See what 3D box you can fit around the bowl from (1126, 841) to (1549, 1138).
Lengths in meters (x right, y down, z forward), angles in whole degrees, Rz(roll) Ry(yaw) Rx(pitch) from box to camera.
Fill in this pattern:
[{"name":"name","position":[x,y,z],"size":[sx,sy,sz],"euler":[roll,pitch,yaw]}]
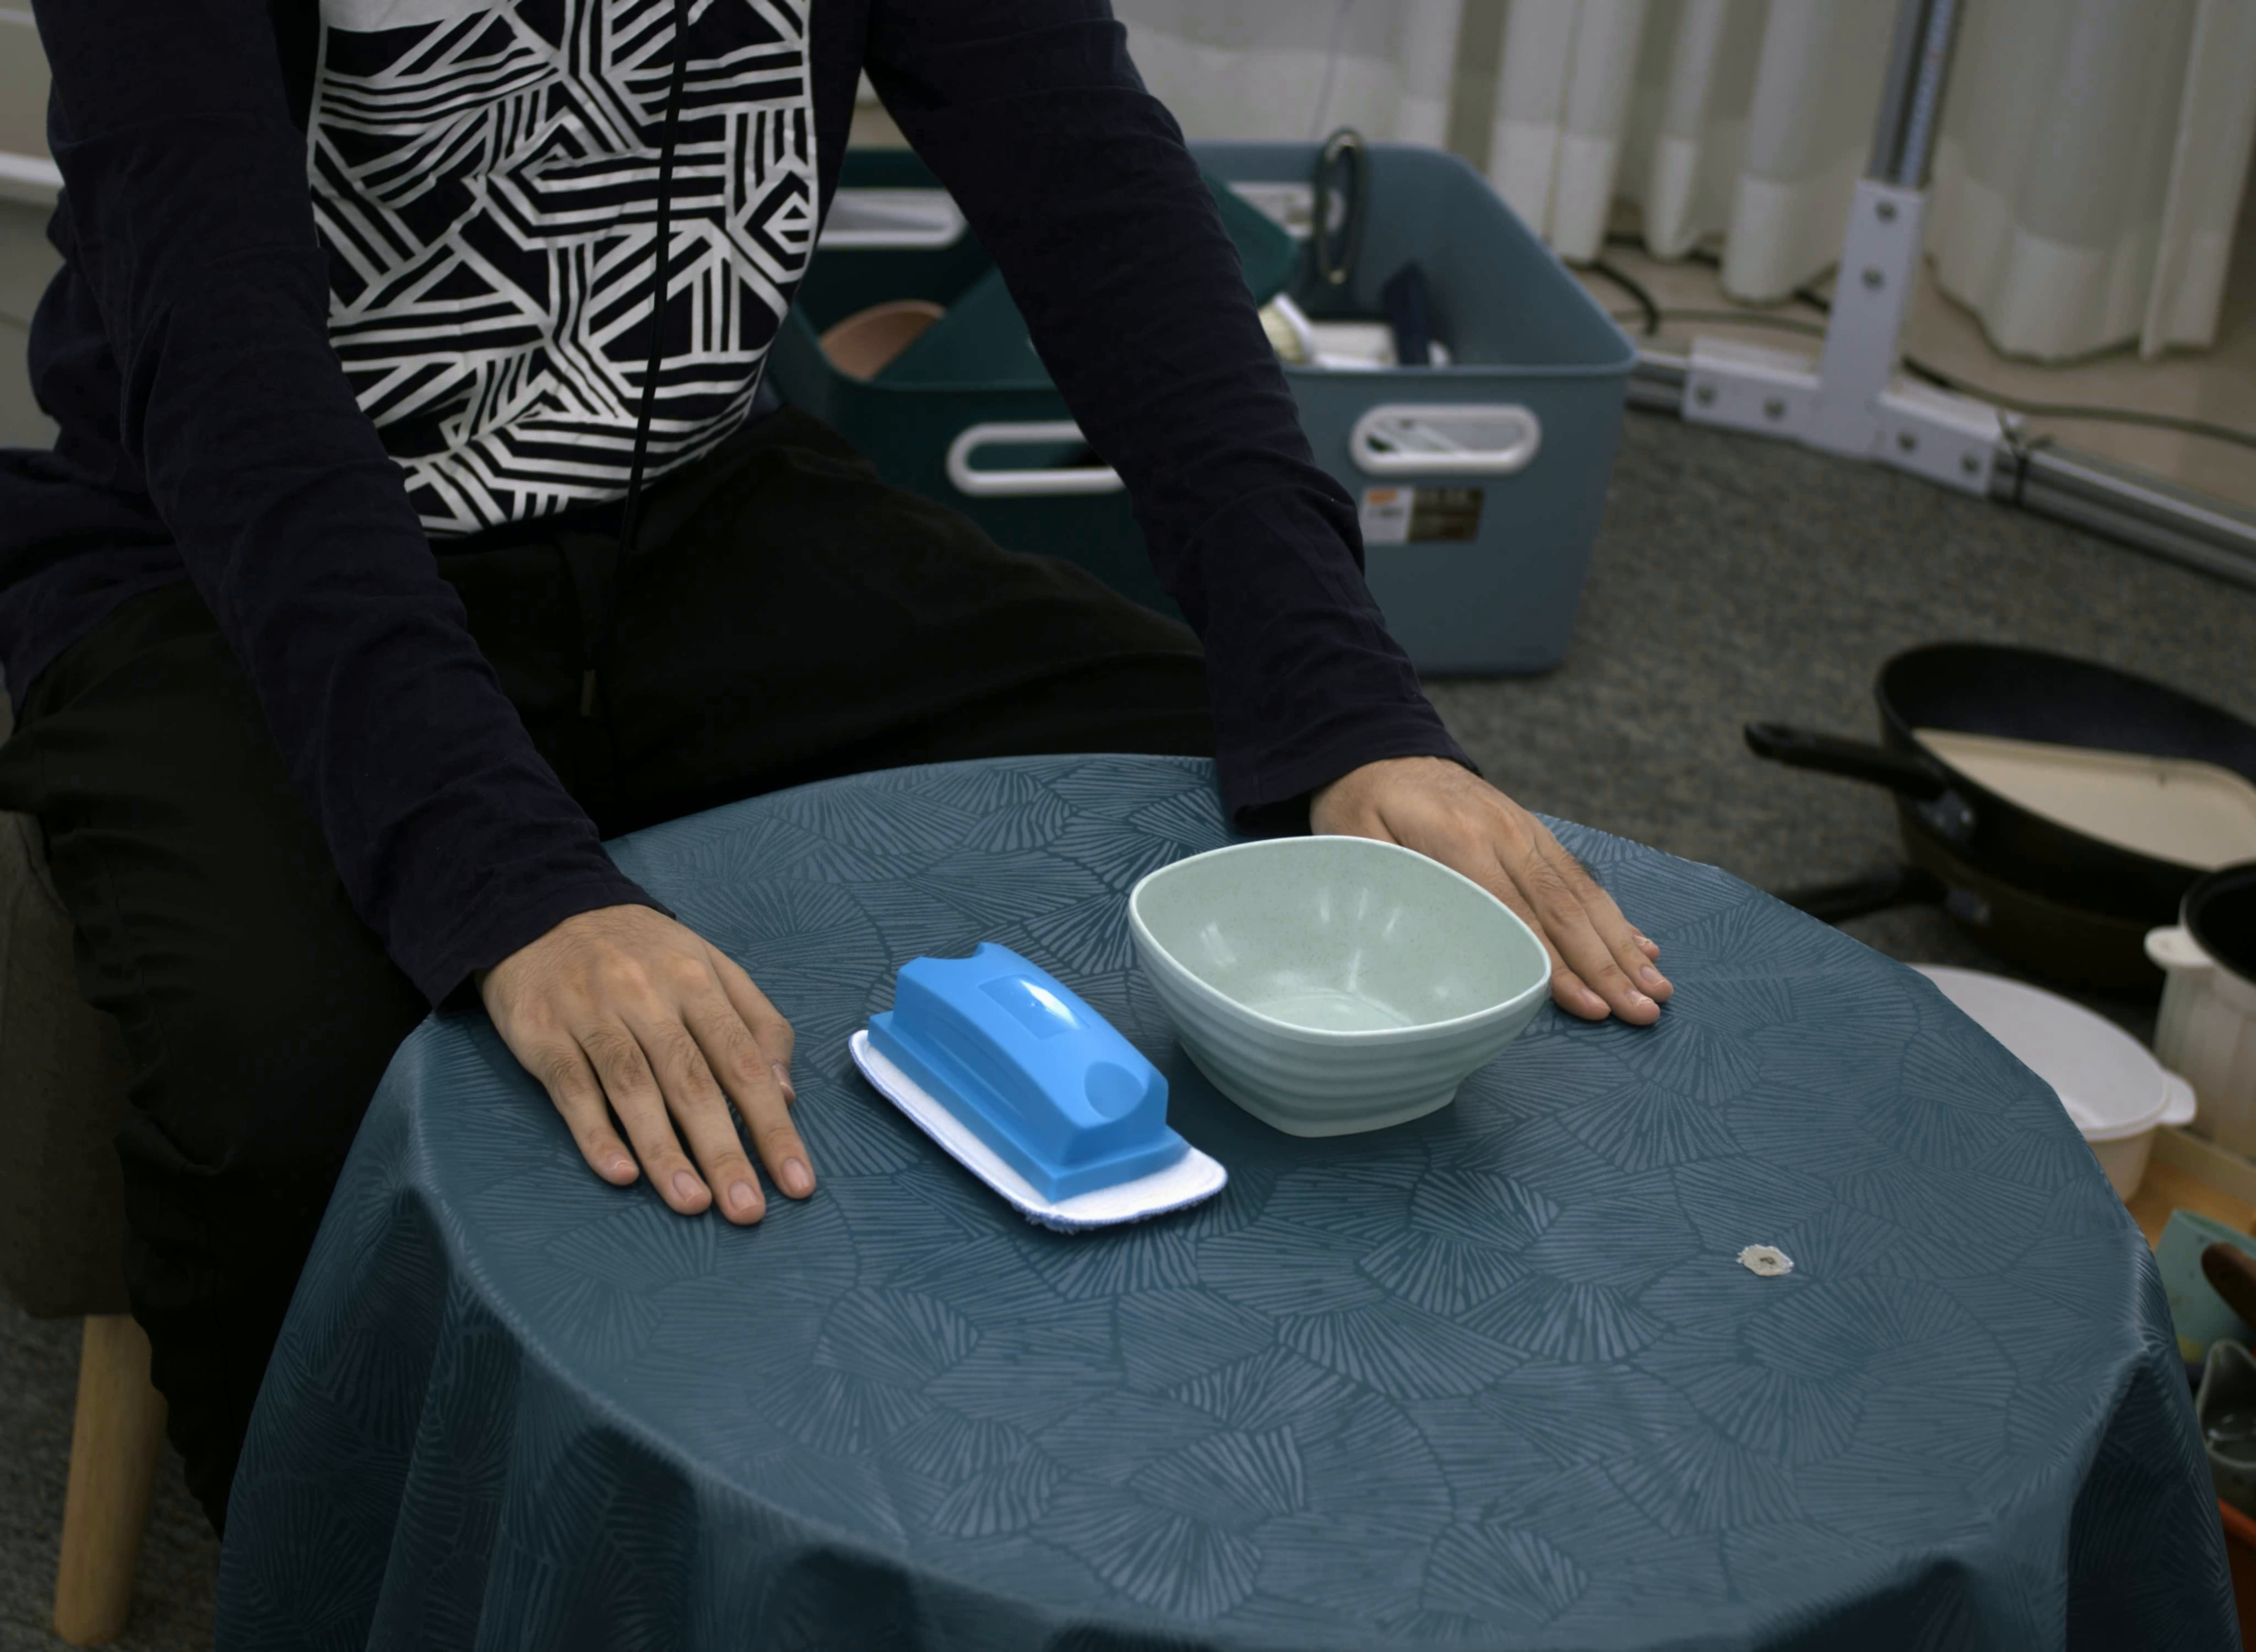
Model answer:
[{"name":"bowl","position":[0.070,0.063,1.880],"size":[0.151,0.058,0.152],"euler":[7,26,-4]}]

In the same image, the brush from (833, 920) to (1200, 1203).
[{"name":"brush","position":[-0.036,0.076,1.824],"size":[0.083,0.056,0.145],"euler":[-7,32,-32]}]
